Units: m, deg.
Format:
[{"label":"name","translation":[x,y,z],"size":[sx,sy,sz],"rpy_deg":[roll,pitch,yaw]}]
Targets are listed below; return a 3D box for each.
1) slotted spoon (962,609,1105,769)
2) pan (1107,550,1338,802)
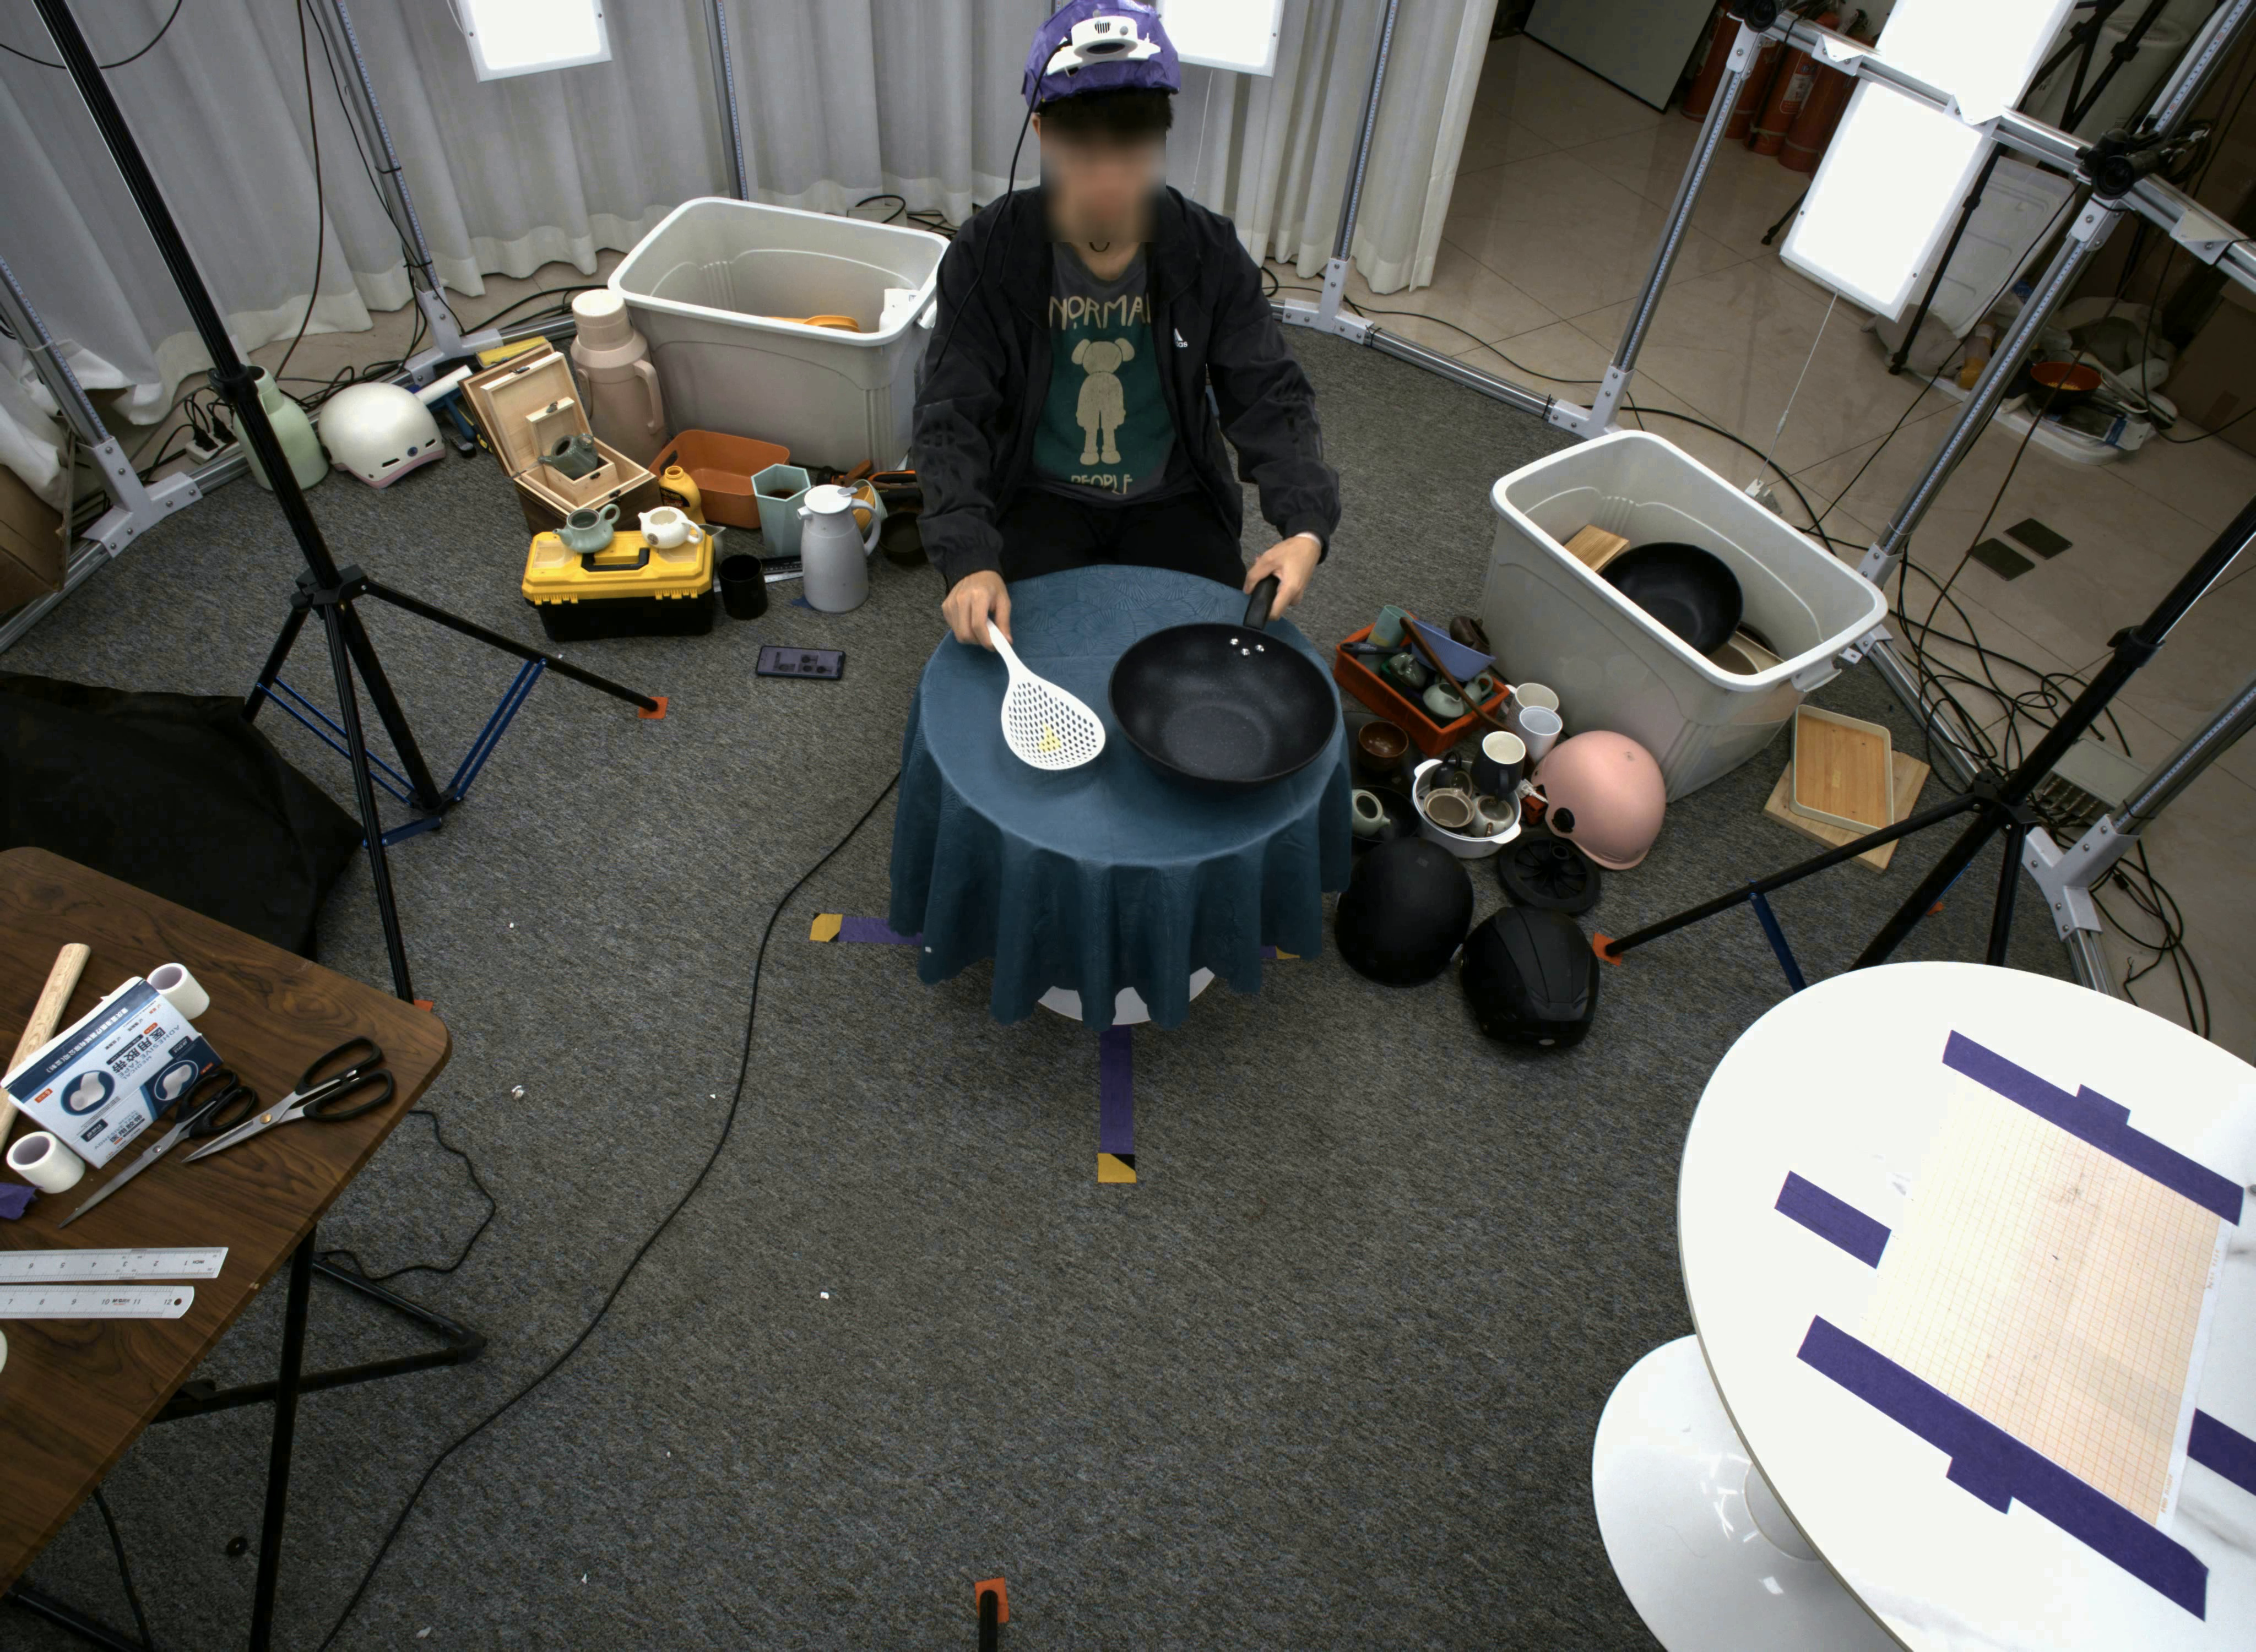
[{"label":"slotted spoon","translation":[-0.151,-0.201,1.788],"size":[0.137,0.049,0.355],"rpy_deg":[-18,58,-20]},{"label":"pan","translation":[0.149,-0.205,1.787],"size":[0.311,0.109,0.487],"rpy_deg":[16,48,8]}]
